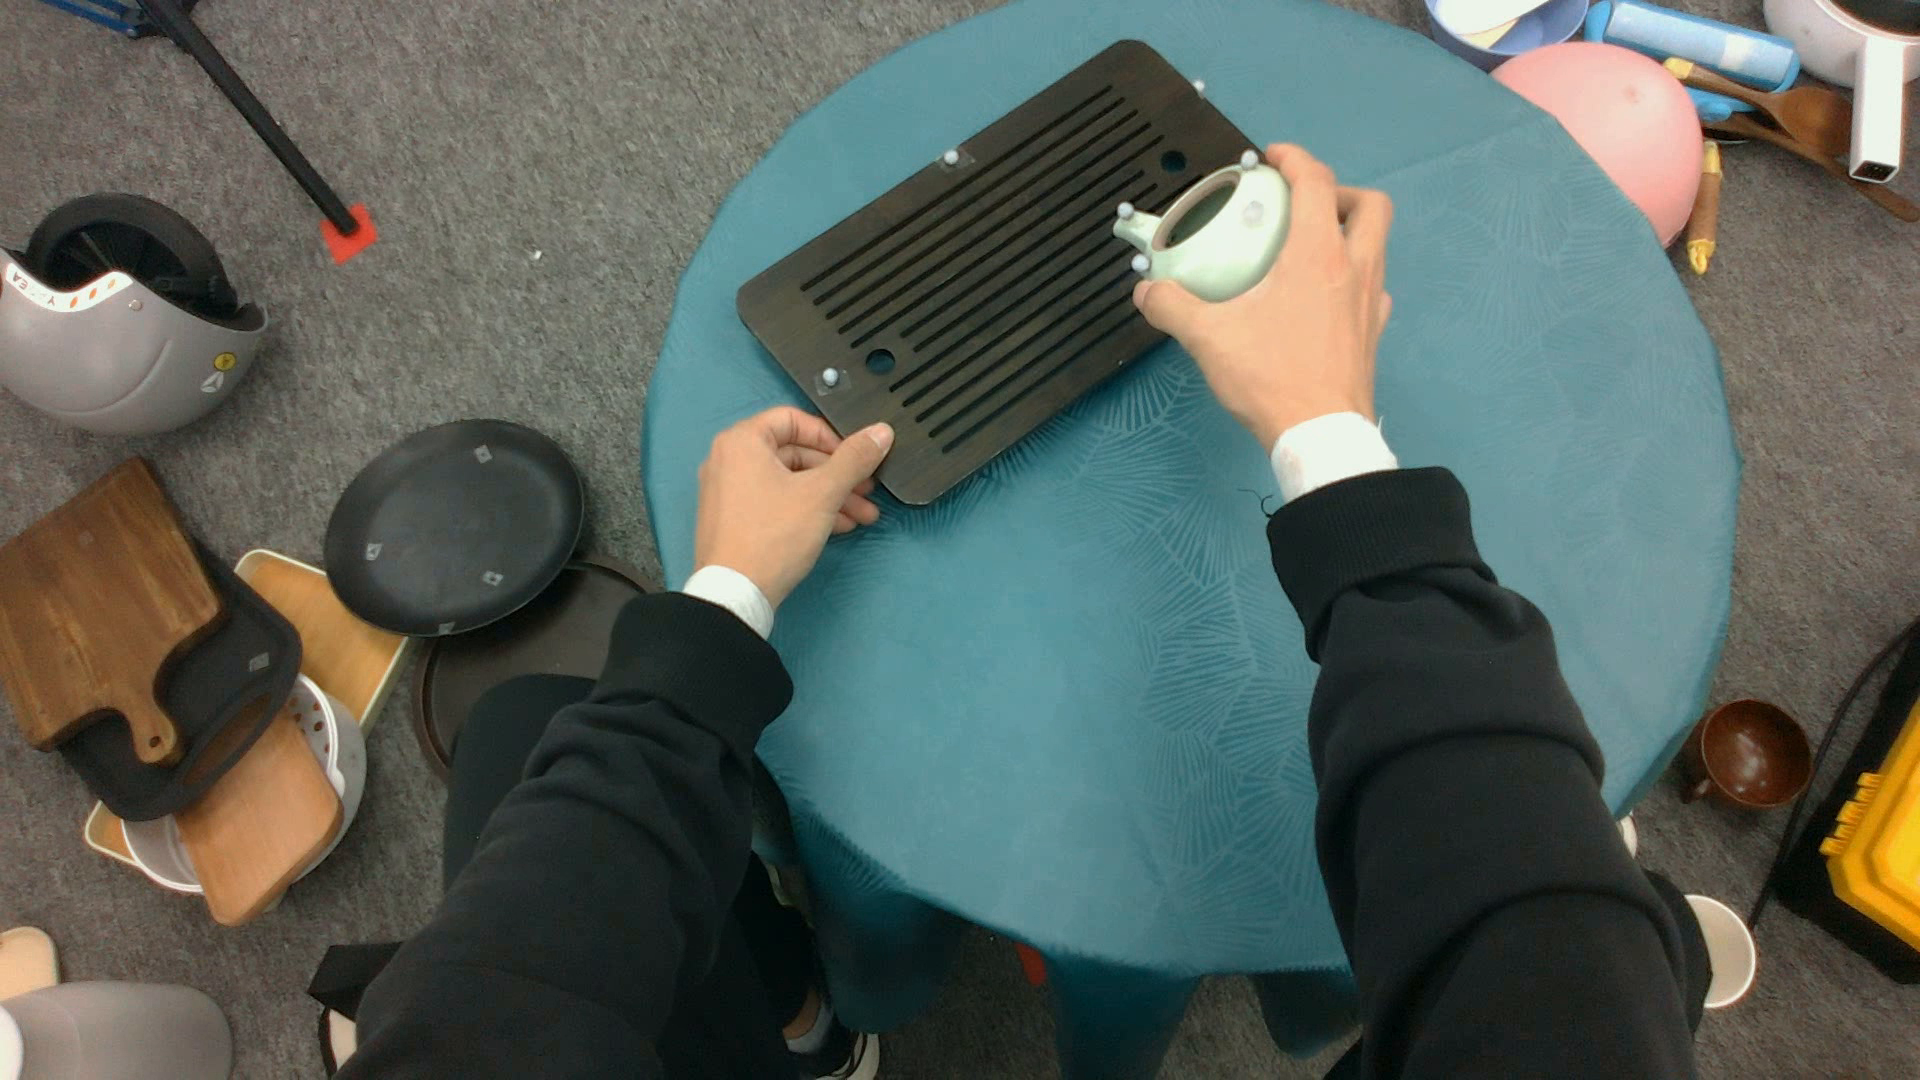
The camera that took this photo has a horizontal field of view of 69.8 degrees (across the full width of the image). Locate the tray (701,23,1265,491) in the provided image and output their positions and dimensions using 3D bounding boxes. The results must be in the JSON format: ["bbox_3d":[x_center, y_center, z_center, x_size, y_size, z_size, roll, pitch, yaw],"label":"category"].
[{"bbox_3d":[0.021,-0.169,0.784,0.307,0.018,0.170,-37,74,-16],"label":"tray"}]

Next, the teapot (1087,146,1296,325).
[{"bbox_3d":[0.119,-0.149,0.673,0.074,0.143,0.088,41,80,-20],"label":"teapot"}]
